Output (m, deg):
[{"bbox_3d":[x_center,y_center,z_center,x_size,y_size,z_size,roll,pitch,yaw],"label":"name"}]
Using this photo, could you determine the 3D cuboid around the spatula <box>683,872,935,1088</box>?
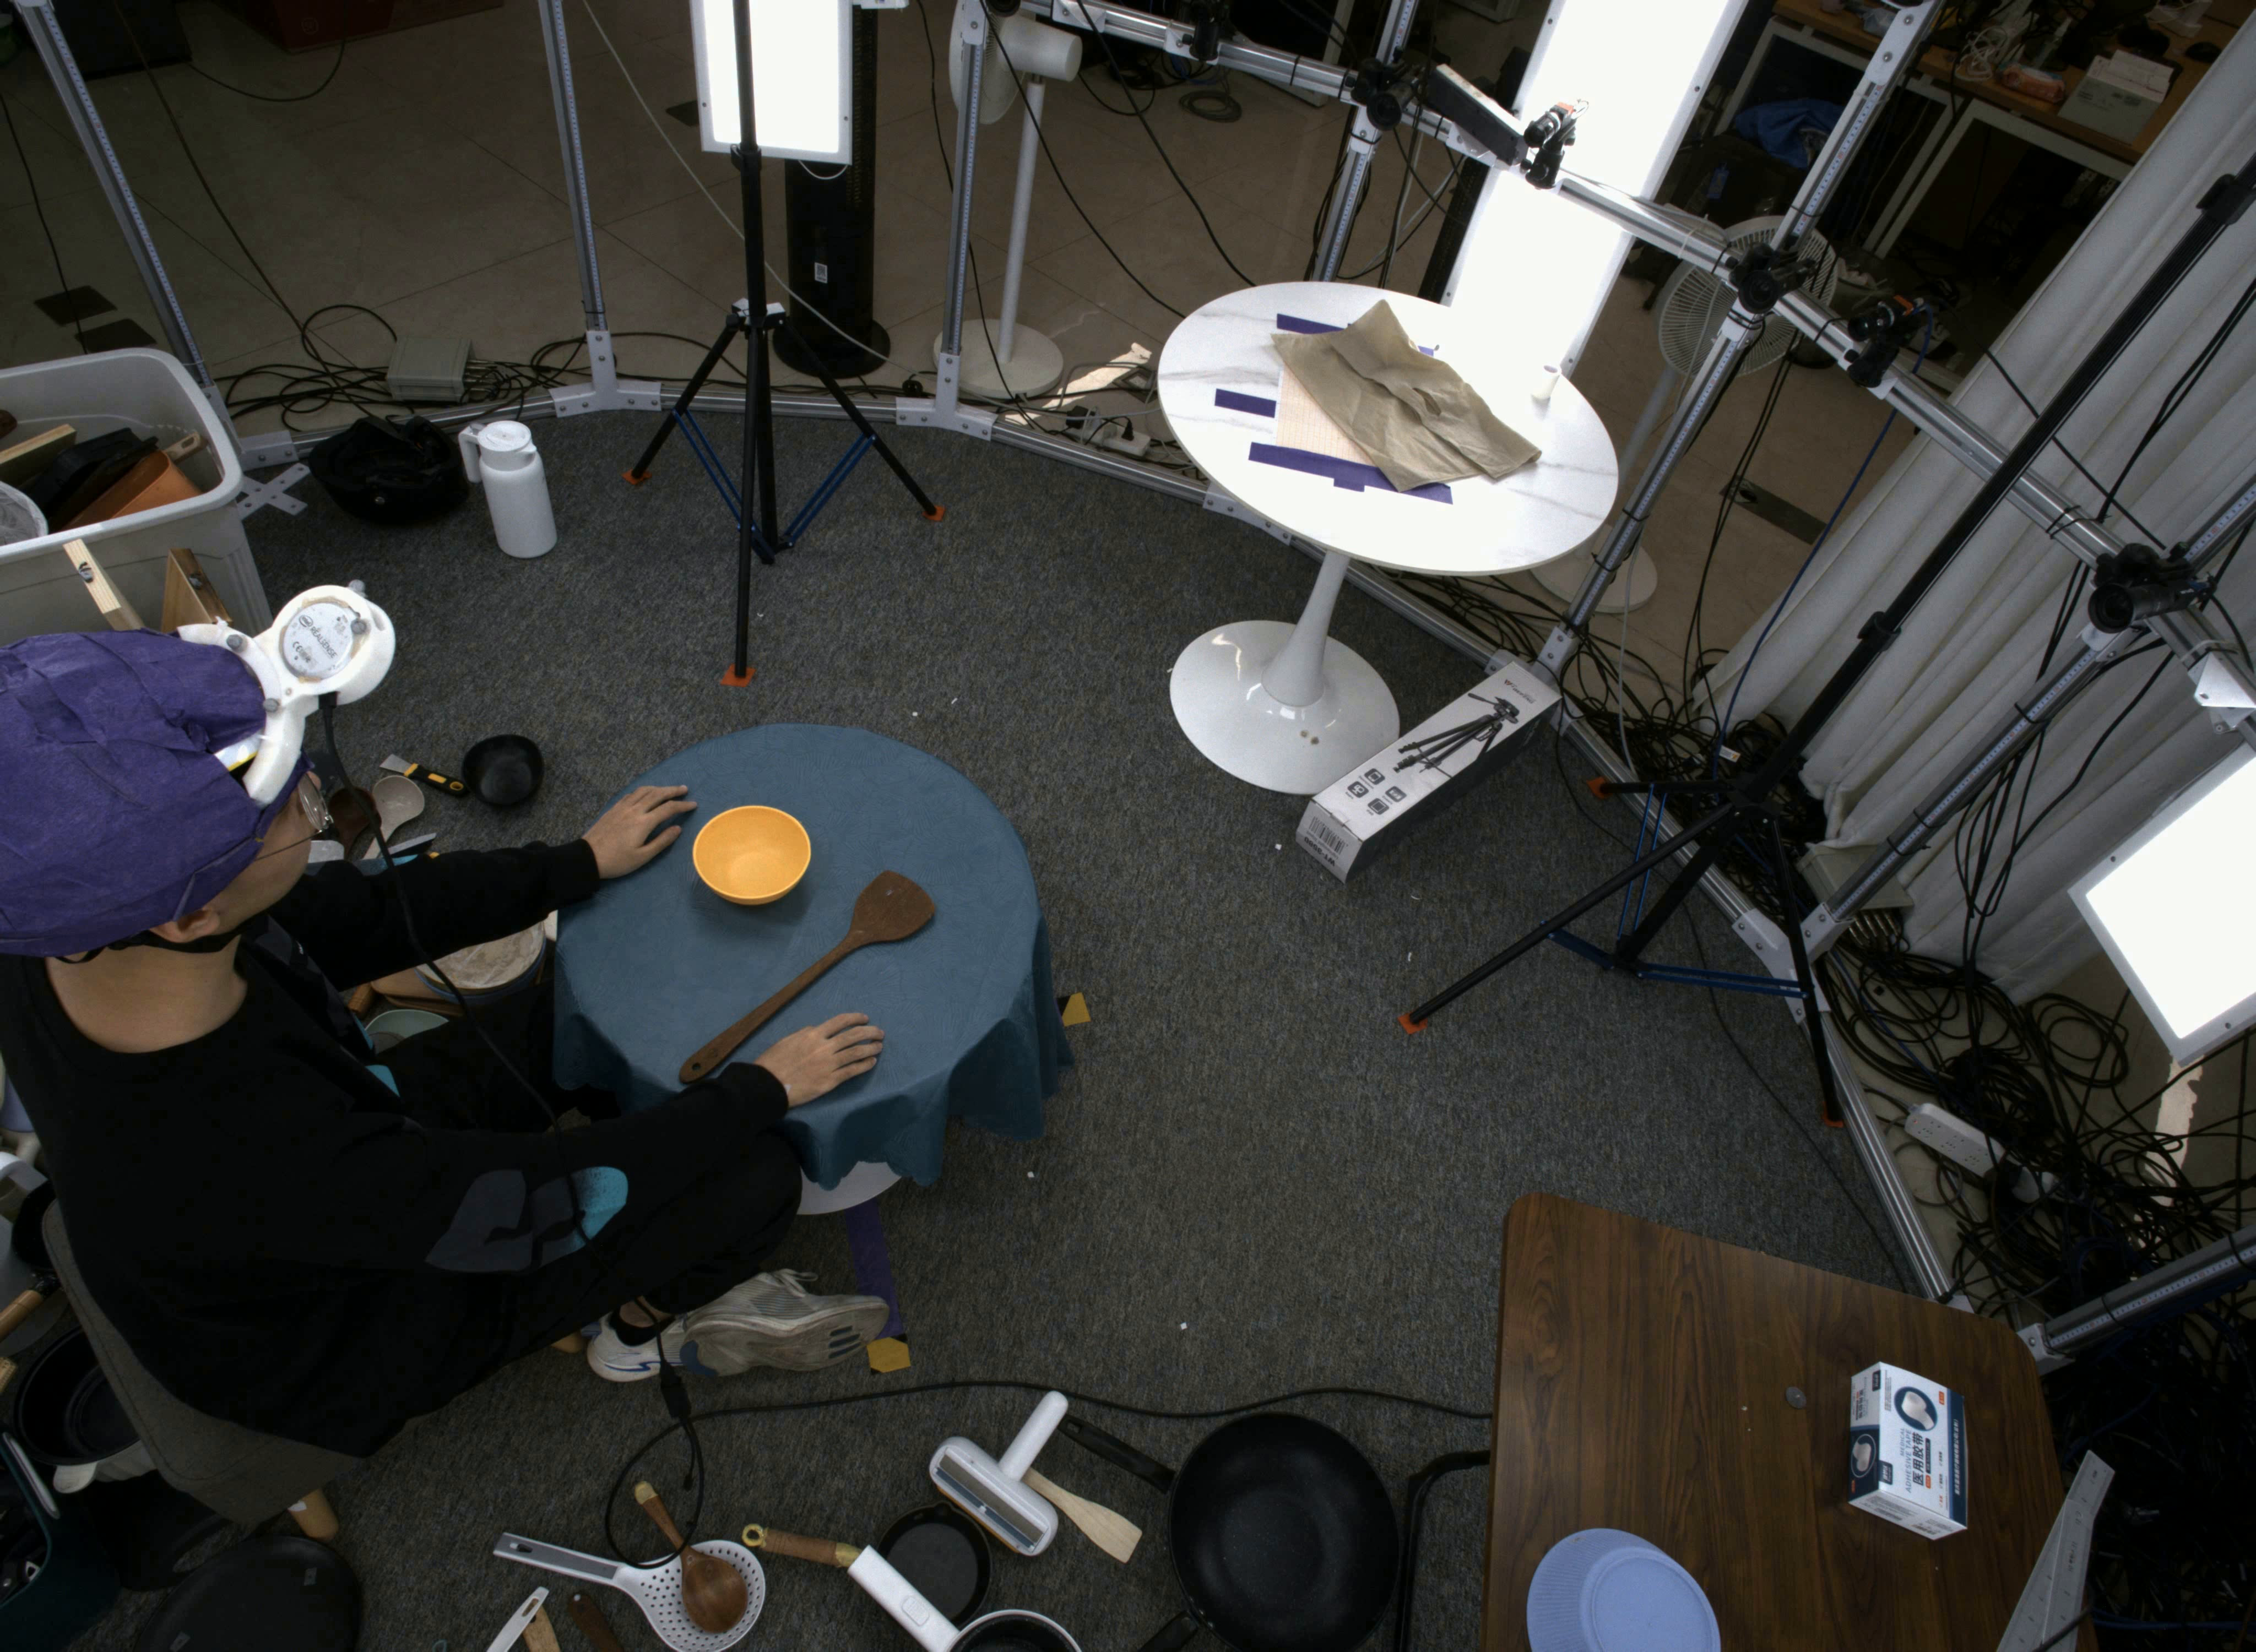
[{"bbox_3d":[-0.392,0.186,1.590,0.094,0.016,0.386,37,54,15],"label":"spatula"}]

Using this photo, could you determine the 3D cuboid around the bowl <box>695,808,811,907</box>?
[{"bbox_3d":[-0.473,0.050,1.644,0.144,0.061,0.143,6,52,-6],"label":"bowl"}]
